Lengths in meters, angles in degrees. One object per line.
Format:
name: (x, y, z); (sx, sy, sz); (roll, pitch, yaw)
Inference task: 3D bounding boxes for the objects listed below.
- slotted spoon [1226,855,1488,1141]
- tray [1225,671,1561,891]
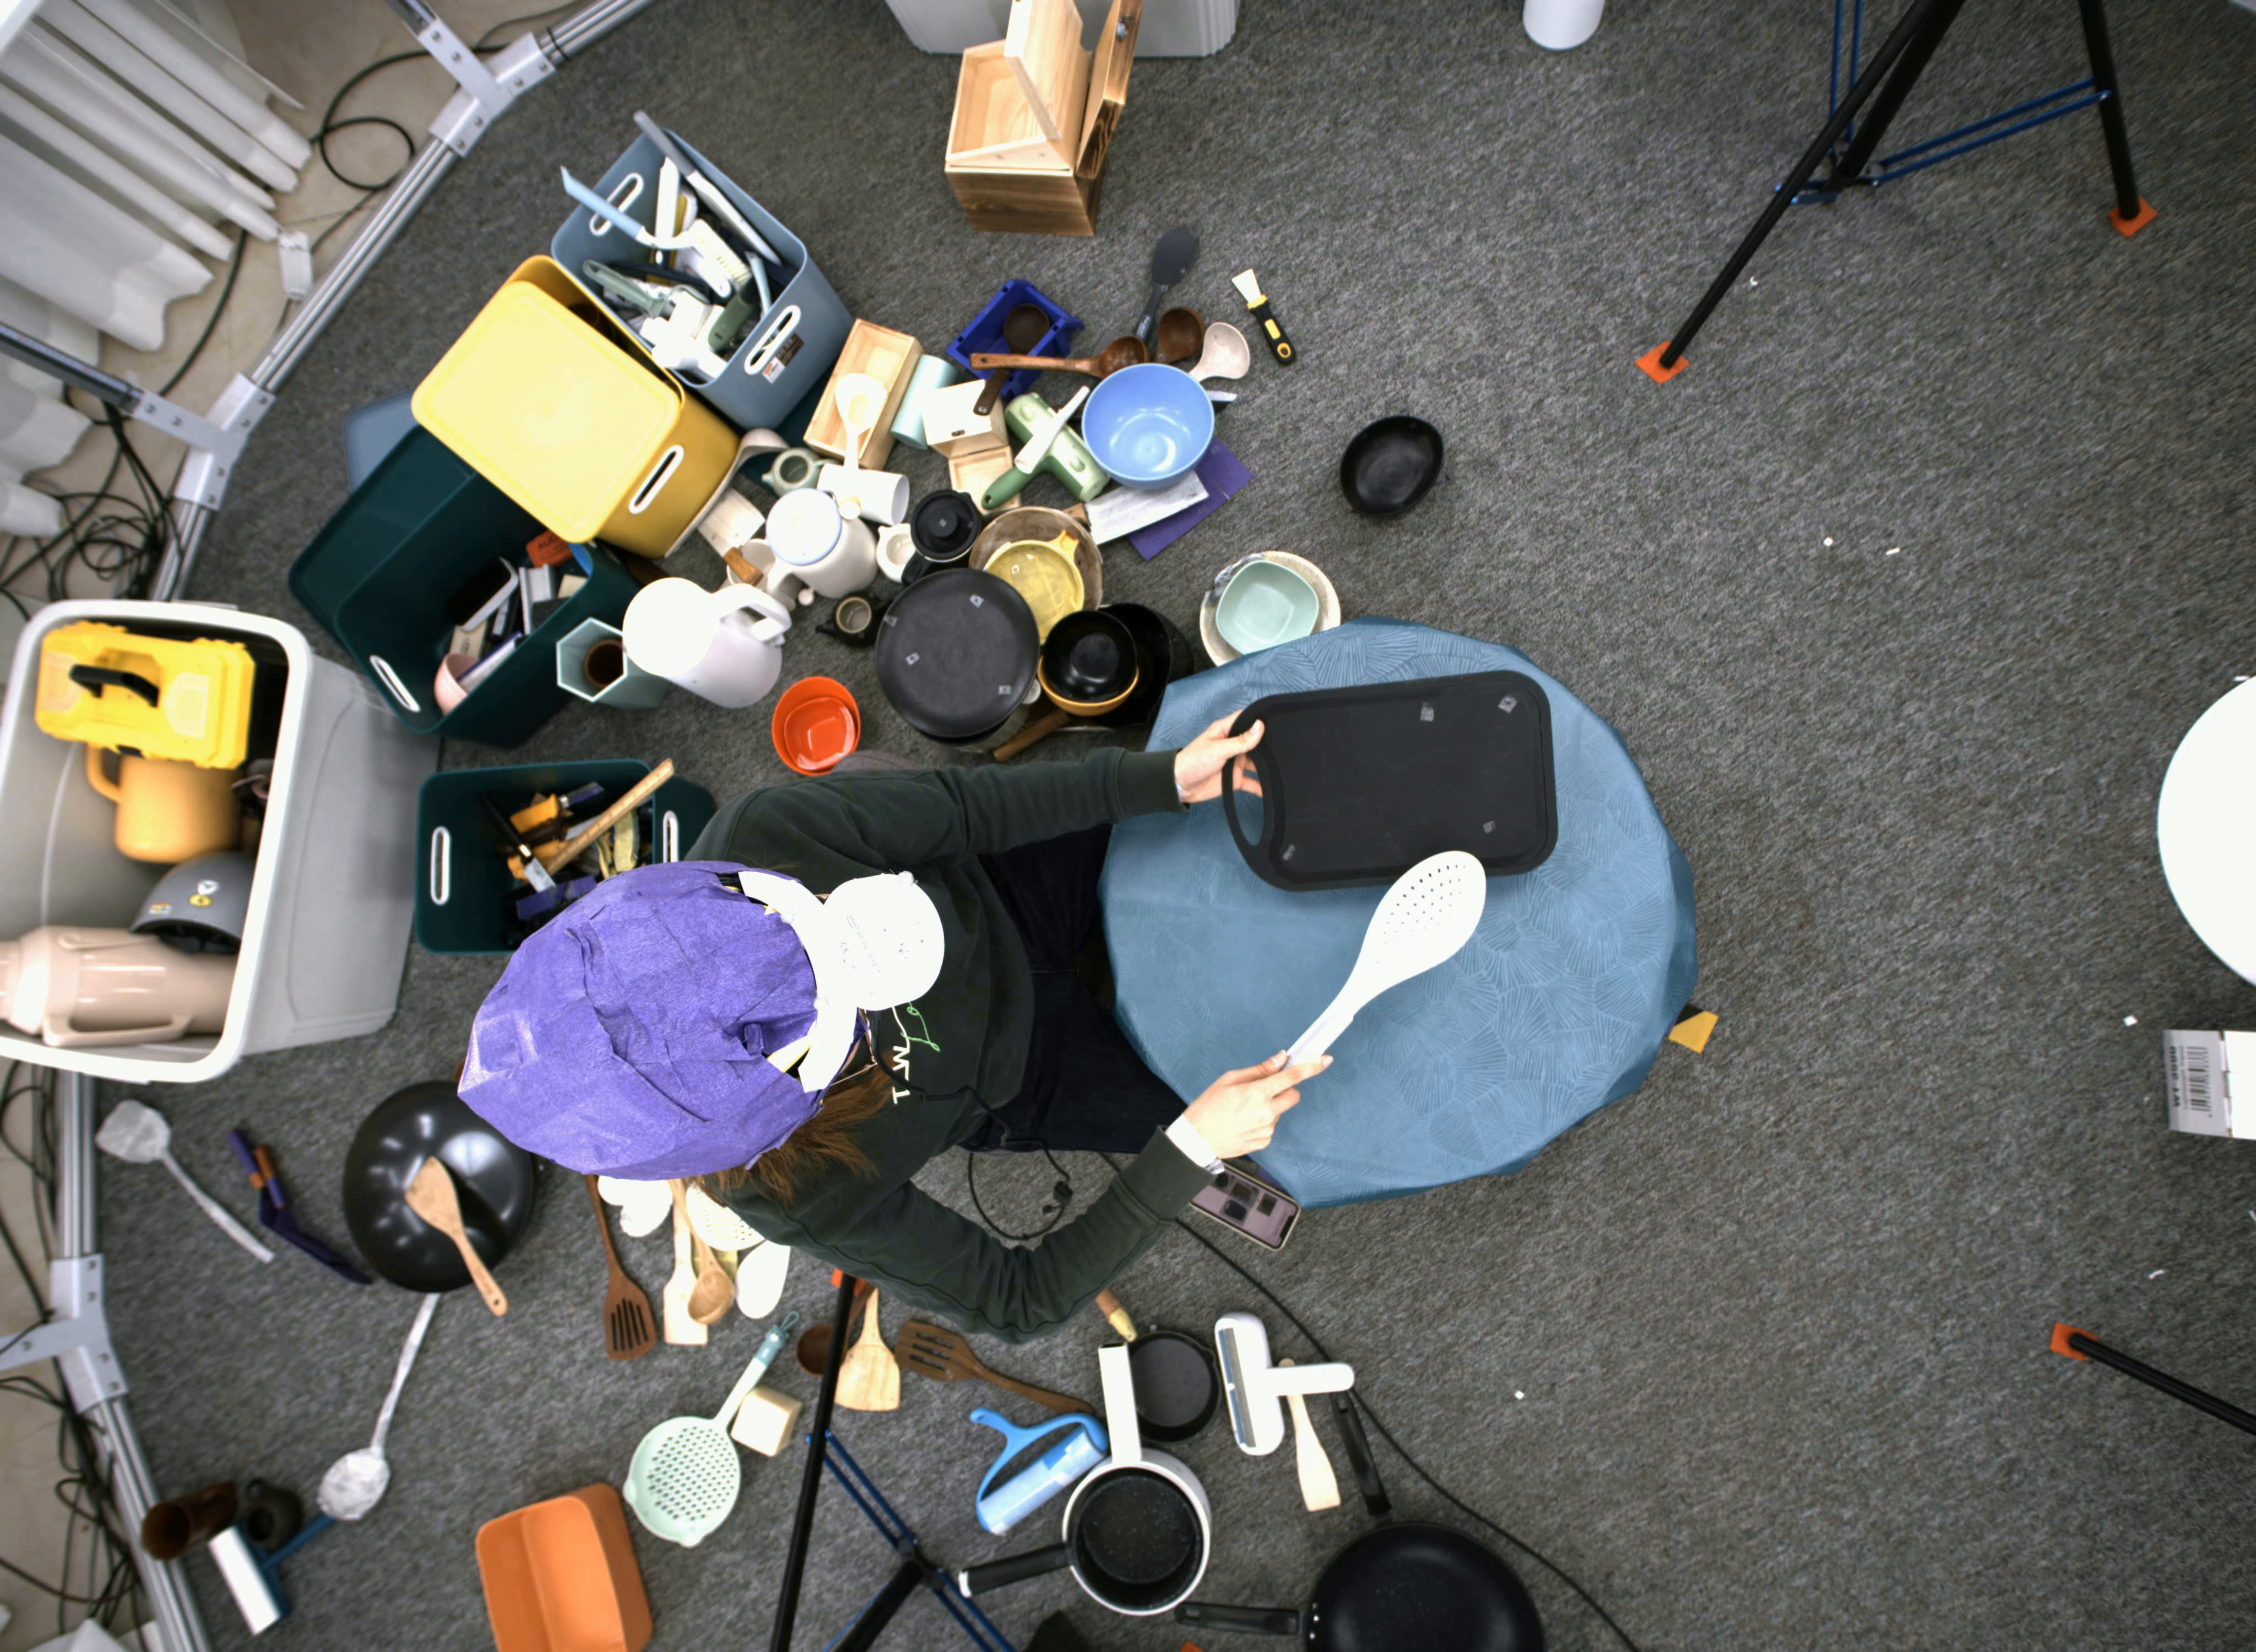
slotted spoon: (0.216, 0.165, 1.314); (0.351, 0.134, 0.046); (-44, 112, 4)
tray: (0.258, -0.040, 1.361); (0.327, 0.009, 0.214); (-5, 110, 14)
